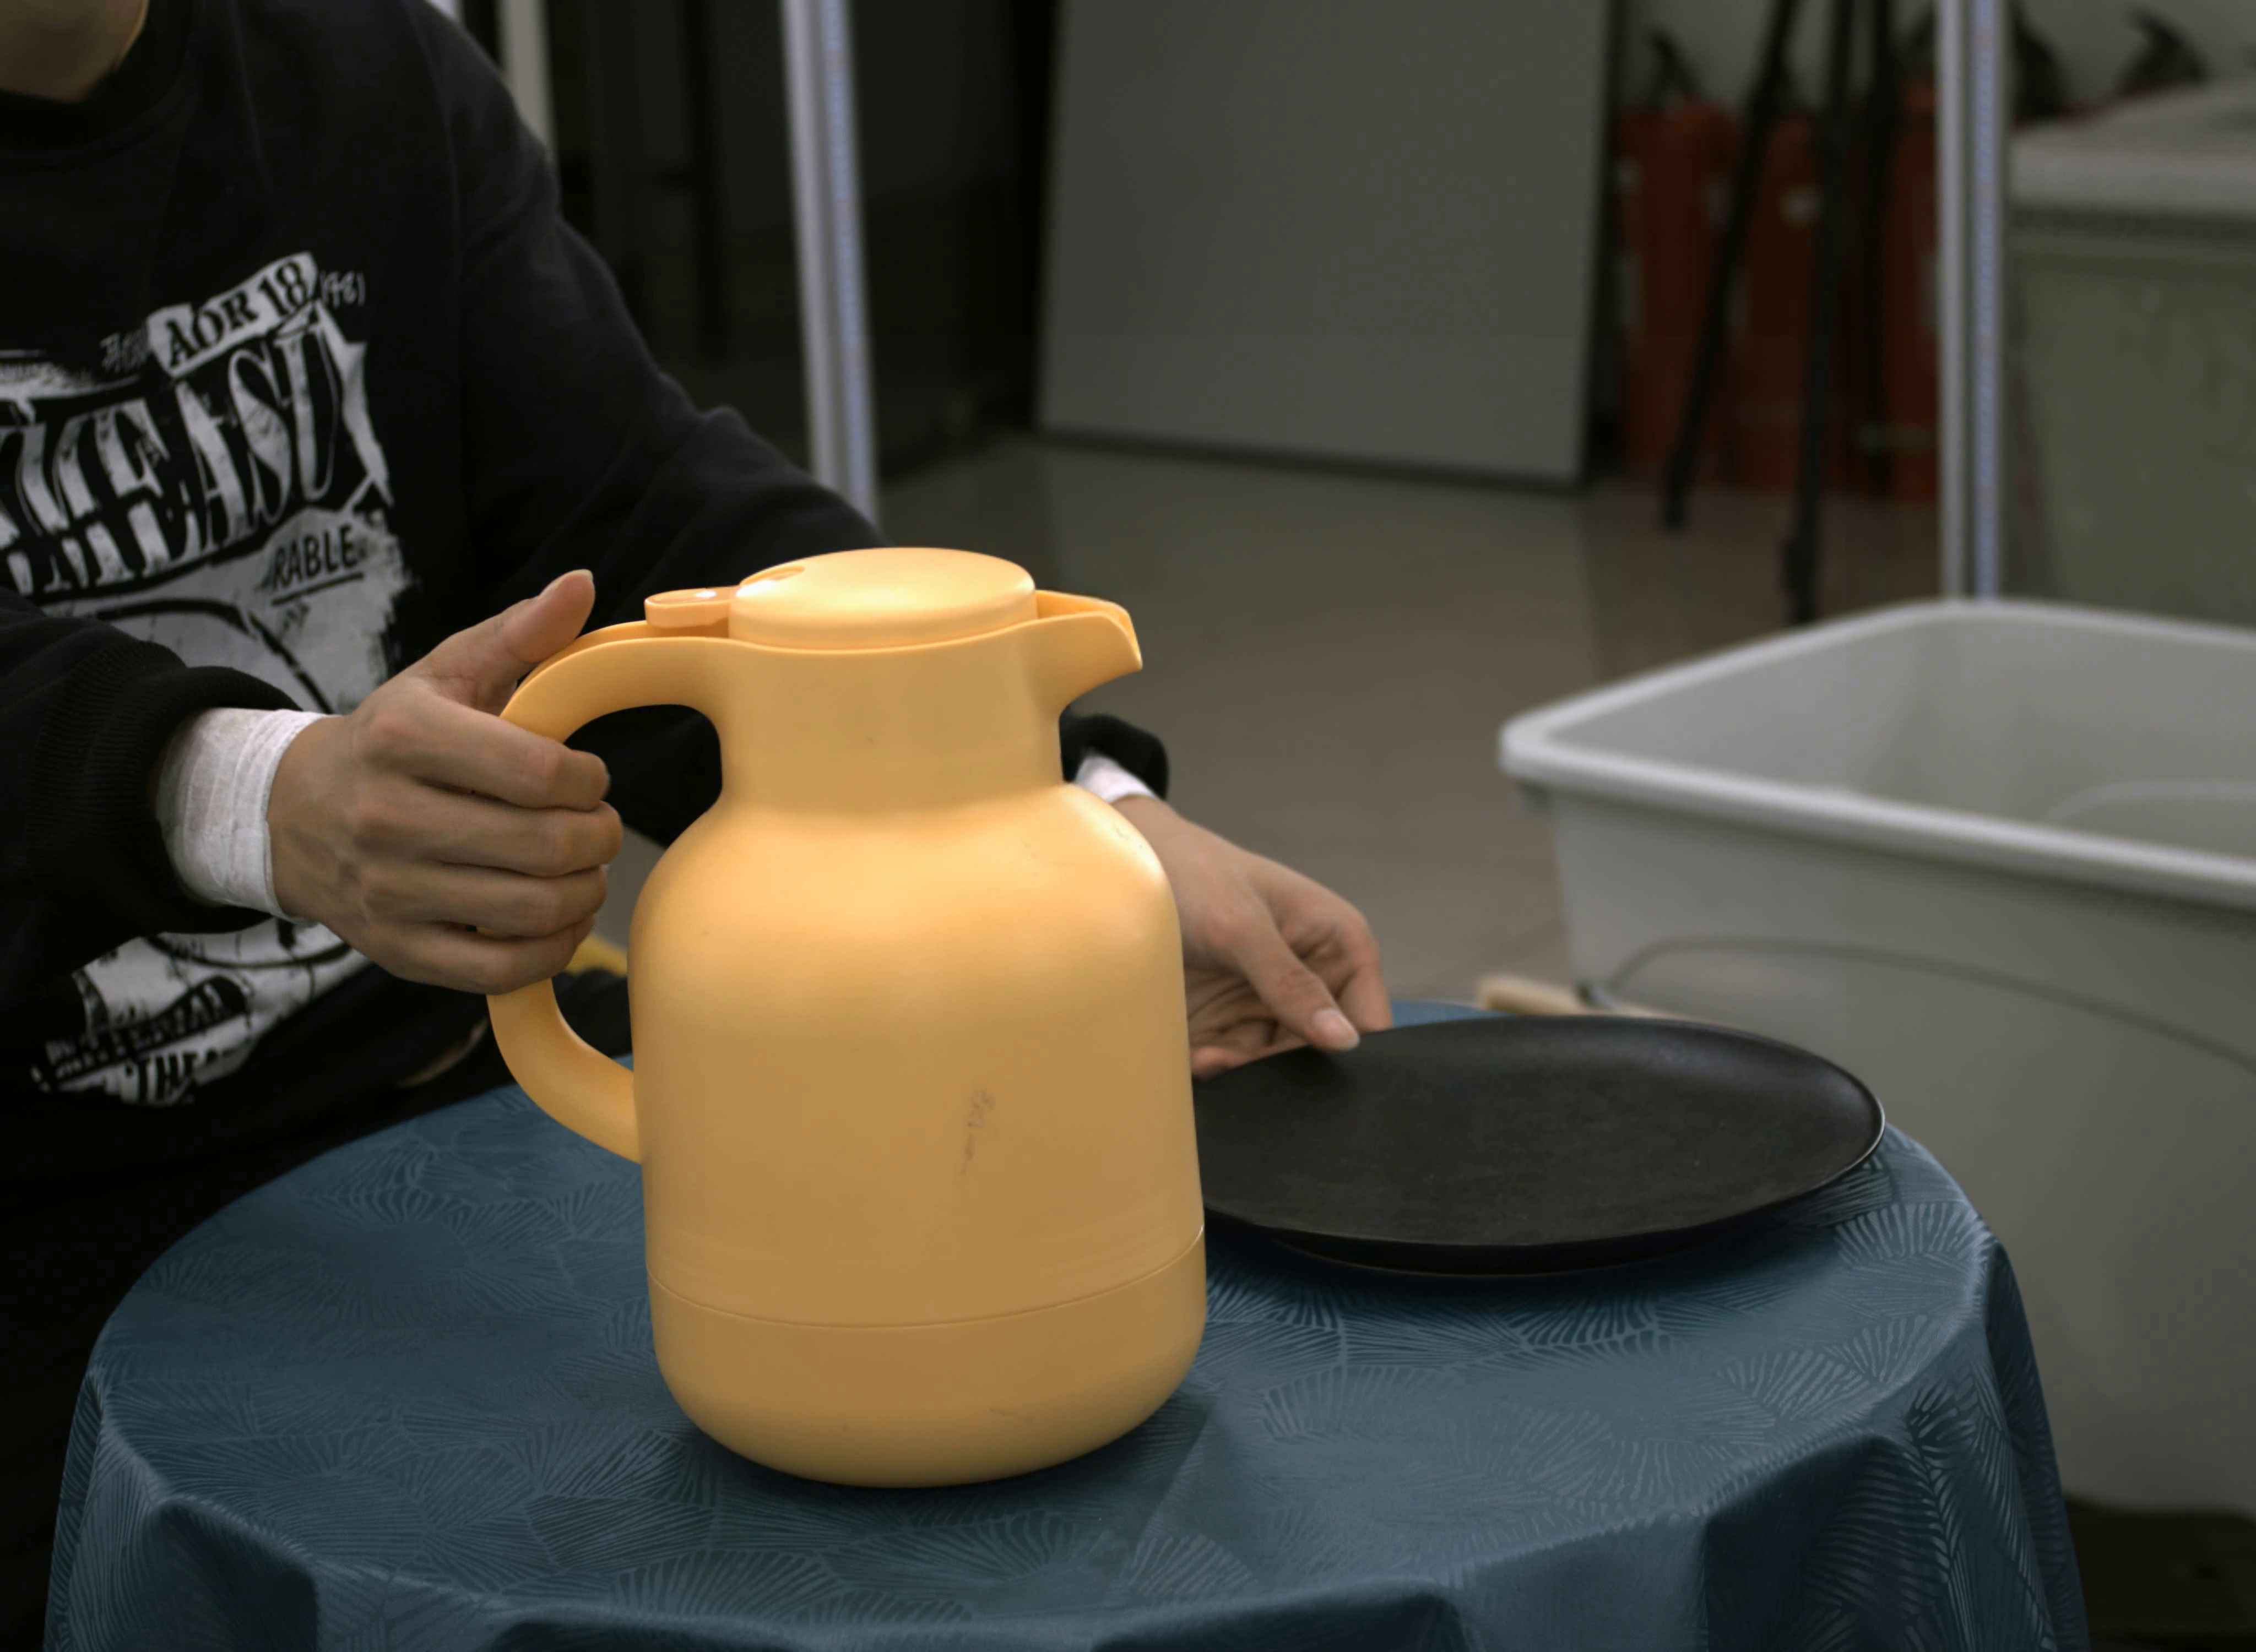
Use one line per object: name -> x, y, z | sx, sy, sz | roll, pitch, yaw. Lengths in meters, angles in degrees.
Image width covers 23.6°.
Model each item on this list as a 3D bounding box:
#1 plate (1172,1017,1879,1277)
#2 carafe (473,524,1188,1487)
plate -> 0.123, 0.106, 1.747 | 0.241, 0.024, 0.245 | -4, 14, 0
carafe -> -0.084, 0.047, 1.548 | 0.200, 0.263, 0.163 | -1, 11, 6
